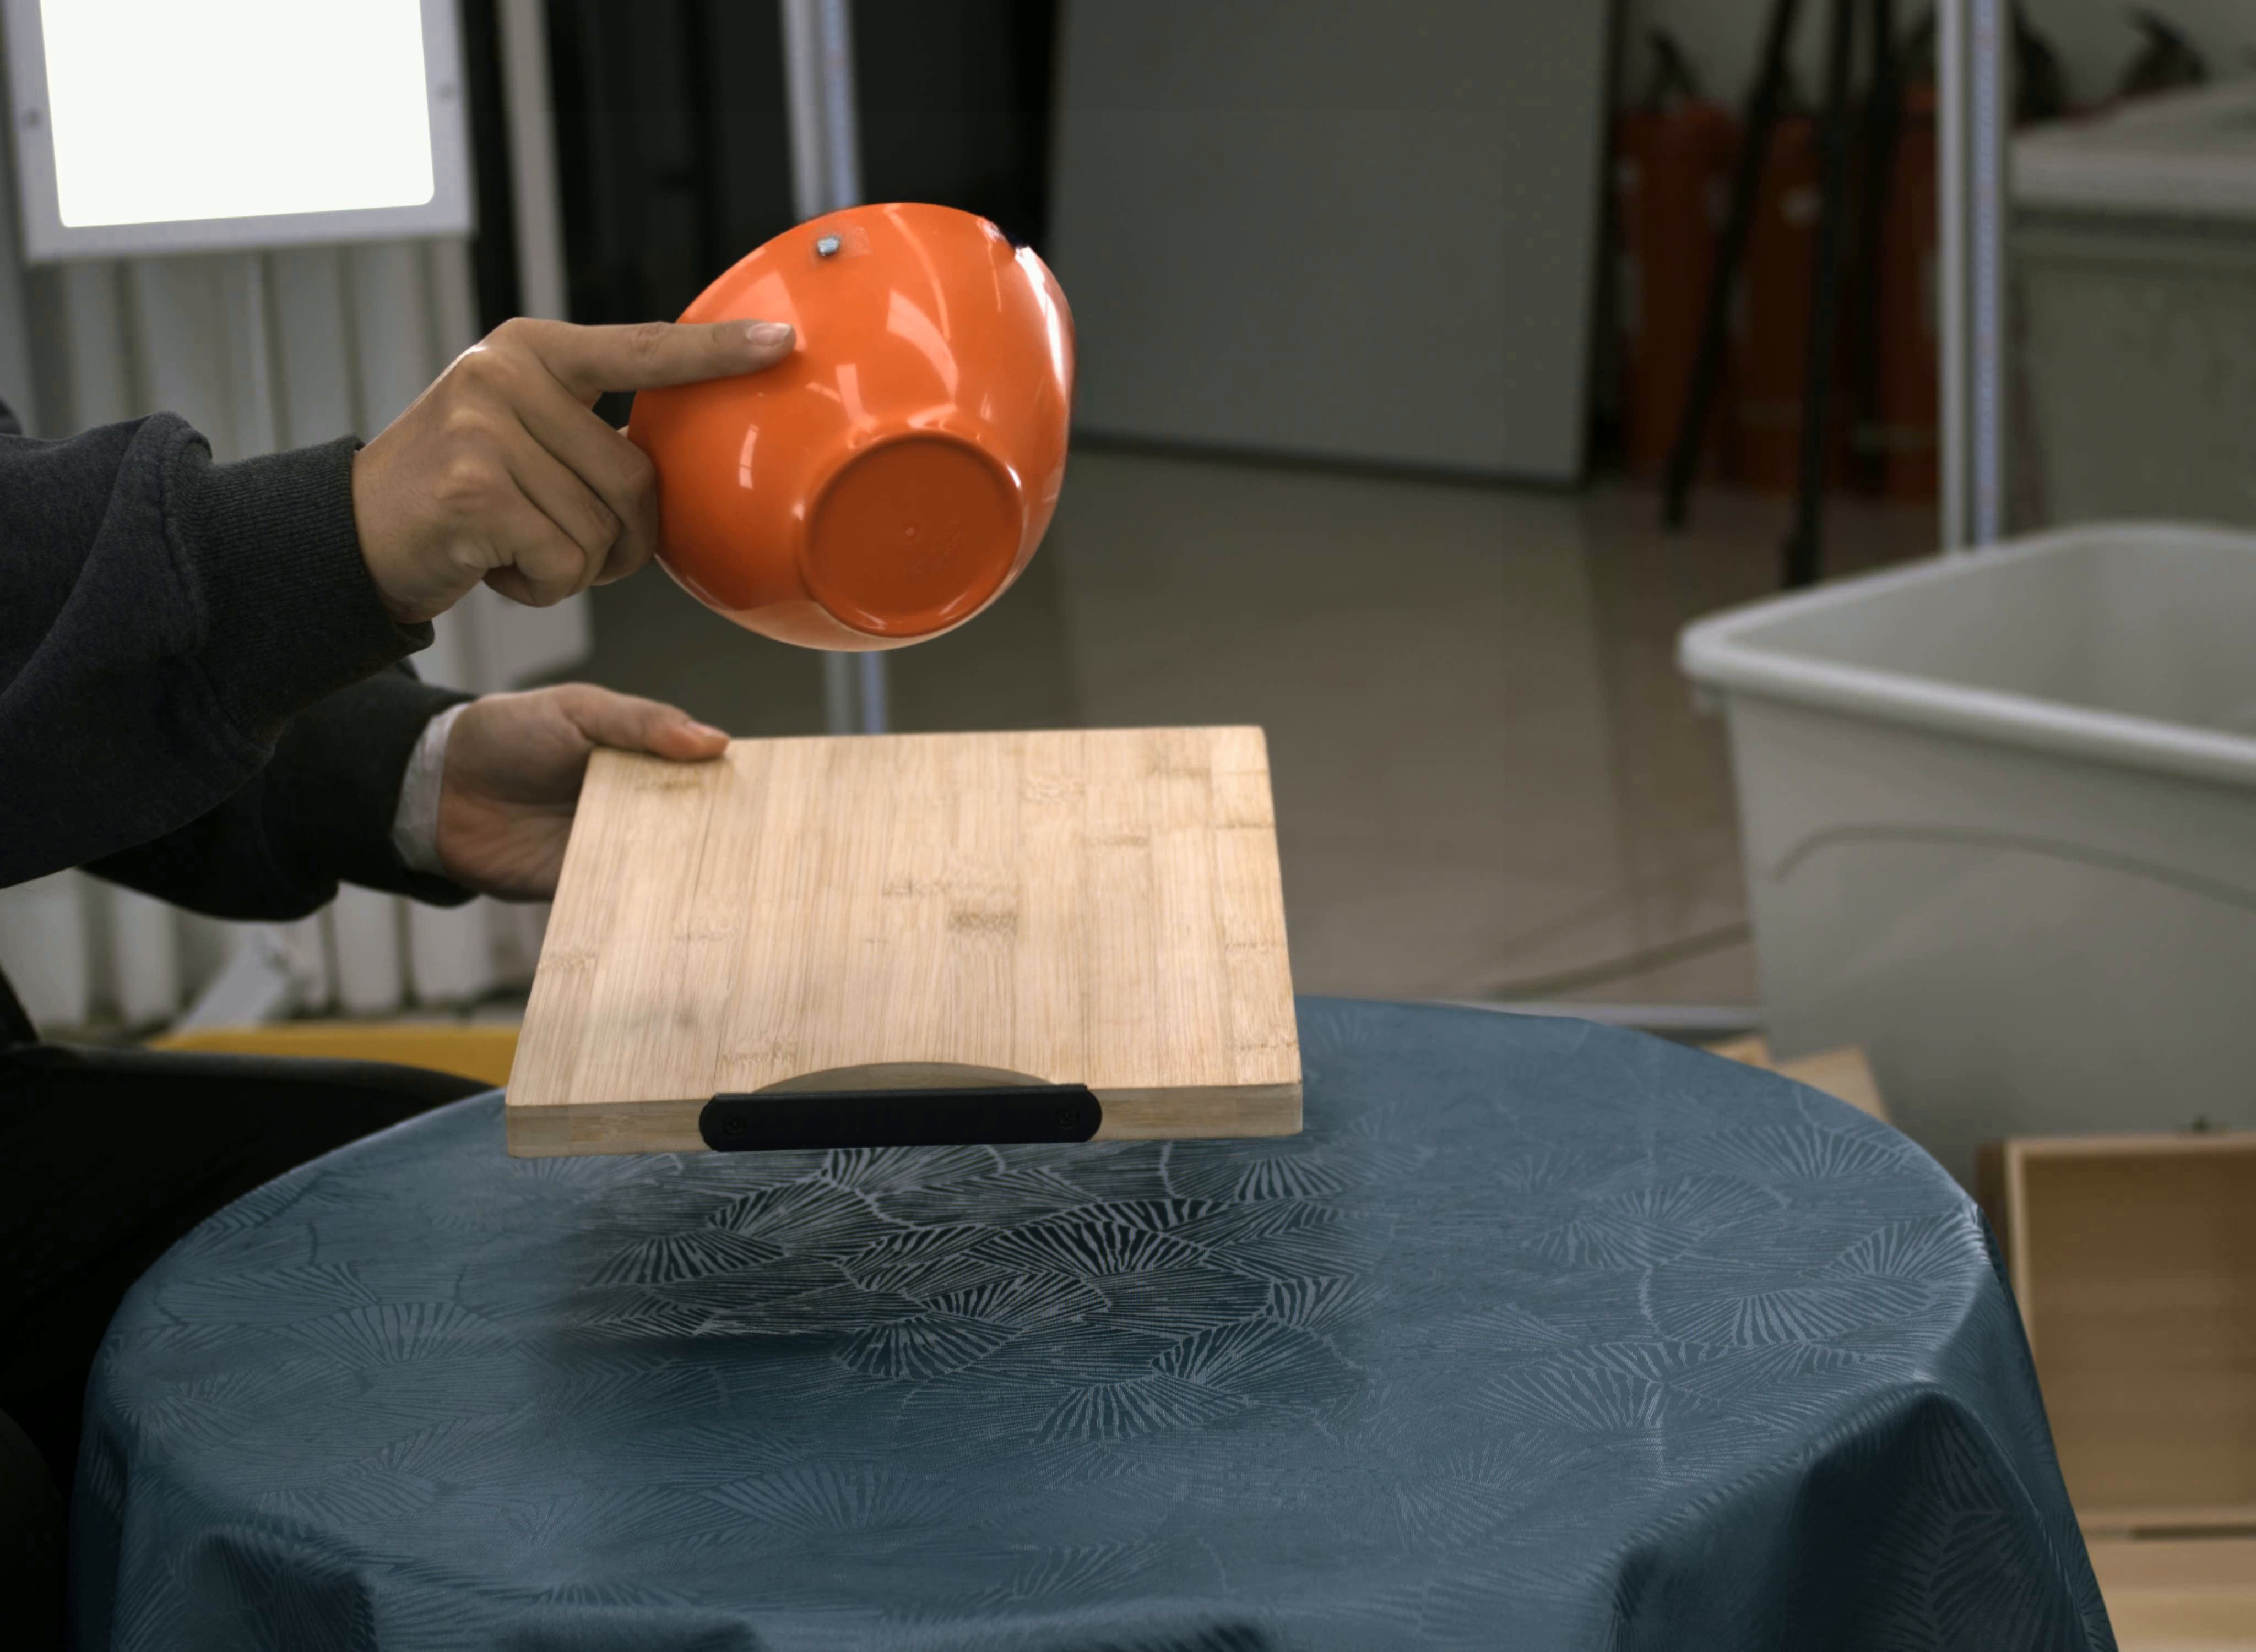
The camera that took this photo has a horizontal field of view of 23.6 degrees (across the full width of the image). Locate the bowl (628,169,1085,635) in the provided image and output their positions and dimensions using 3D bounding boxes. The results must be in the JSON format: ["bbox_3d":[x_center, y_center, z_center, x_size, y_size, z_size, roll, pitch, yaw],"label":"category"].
[{"bbox_3d":[-0.068,-0.109,1.581,0.145,0.149,0.106,-7,30,-15],"label":"bowl"}]

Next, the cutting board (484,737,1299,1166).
[{"bbox_3d":[-0.069,0.034,1.747,0.247,0.024,0.349,-3,18,0],"label":"cutting board"}]
